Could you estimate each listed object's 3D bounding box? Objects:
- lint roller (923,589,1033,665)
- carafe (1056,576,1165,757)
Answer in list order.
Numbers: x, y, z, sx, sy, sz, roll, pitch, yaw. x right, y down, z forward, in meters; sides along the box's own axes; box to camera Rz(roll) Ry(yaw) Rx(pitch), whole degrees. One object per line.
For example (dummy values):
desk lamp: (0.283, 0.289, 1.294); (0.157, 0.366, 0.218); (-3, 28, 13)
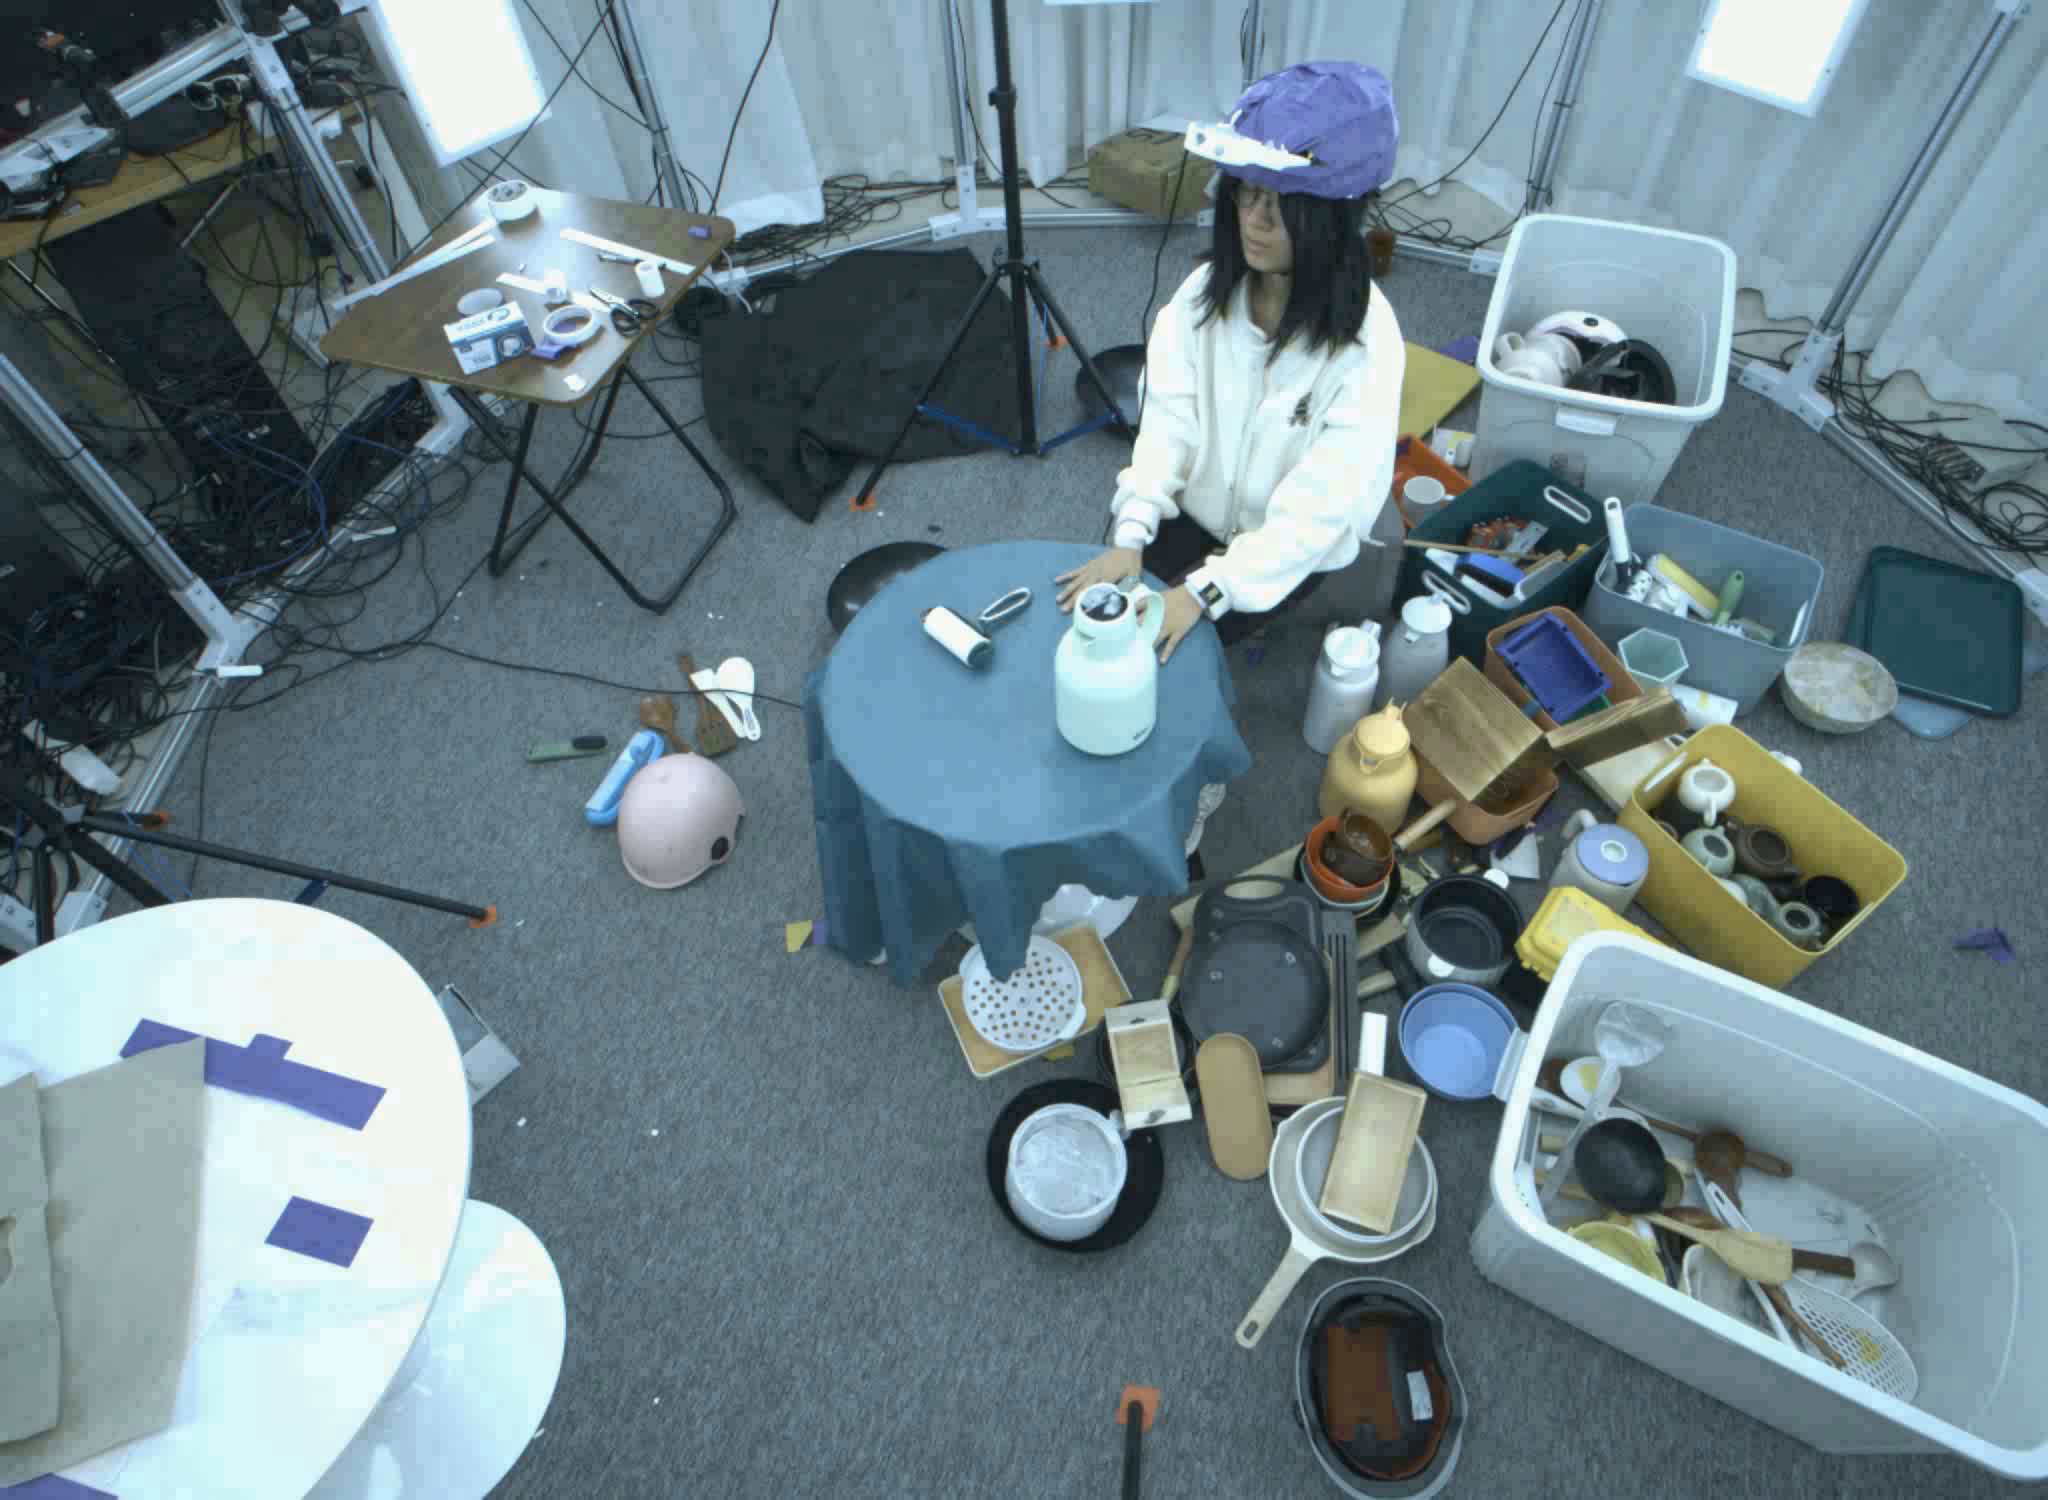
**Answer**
lint roller: (-0.055, -0.214, 1.911); (0.181, 0.049, 0.132); (-38, 63, -22)
carafe: (0.124, -0.123, 1.718); (0.141, 0.259, 0.188); (36, 60, 27)
